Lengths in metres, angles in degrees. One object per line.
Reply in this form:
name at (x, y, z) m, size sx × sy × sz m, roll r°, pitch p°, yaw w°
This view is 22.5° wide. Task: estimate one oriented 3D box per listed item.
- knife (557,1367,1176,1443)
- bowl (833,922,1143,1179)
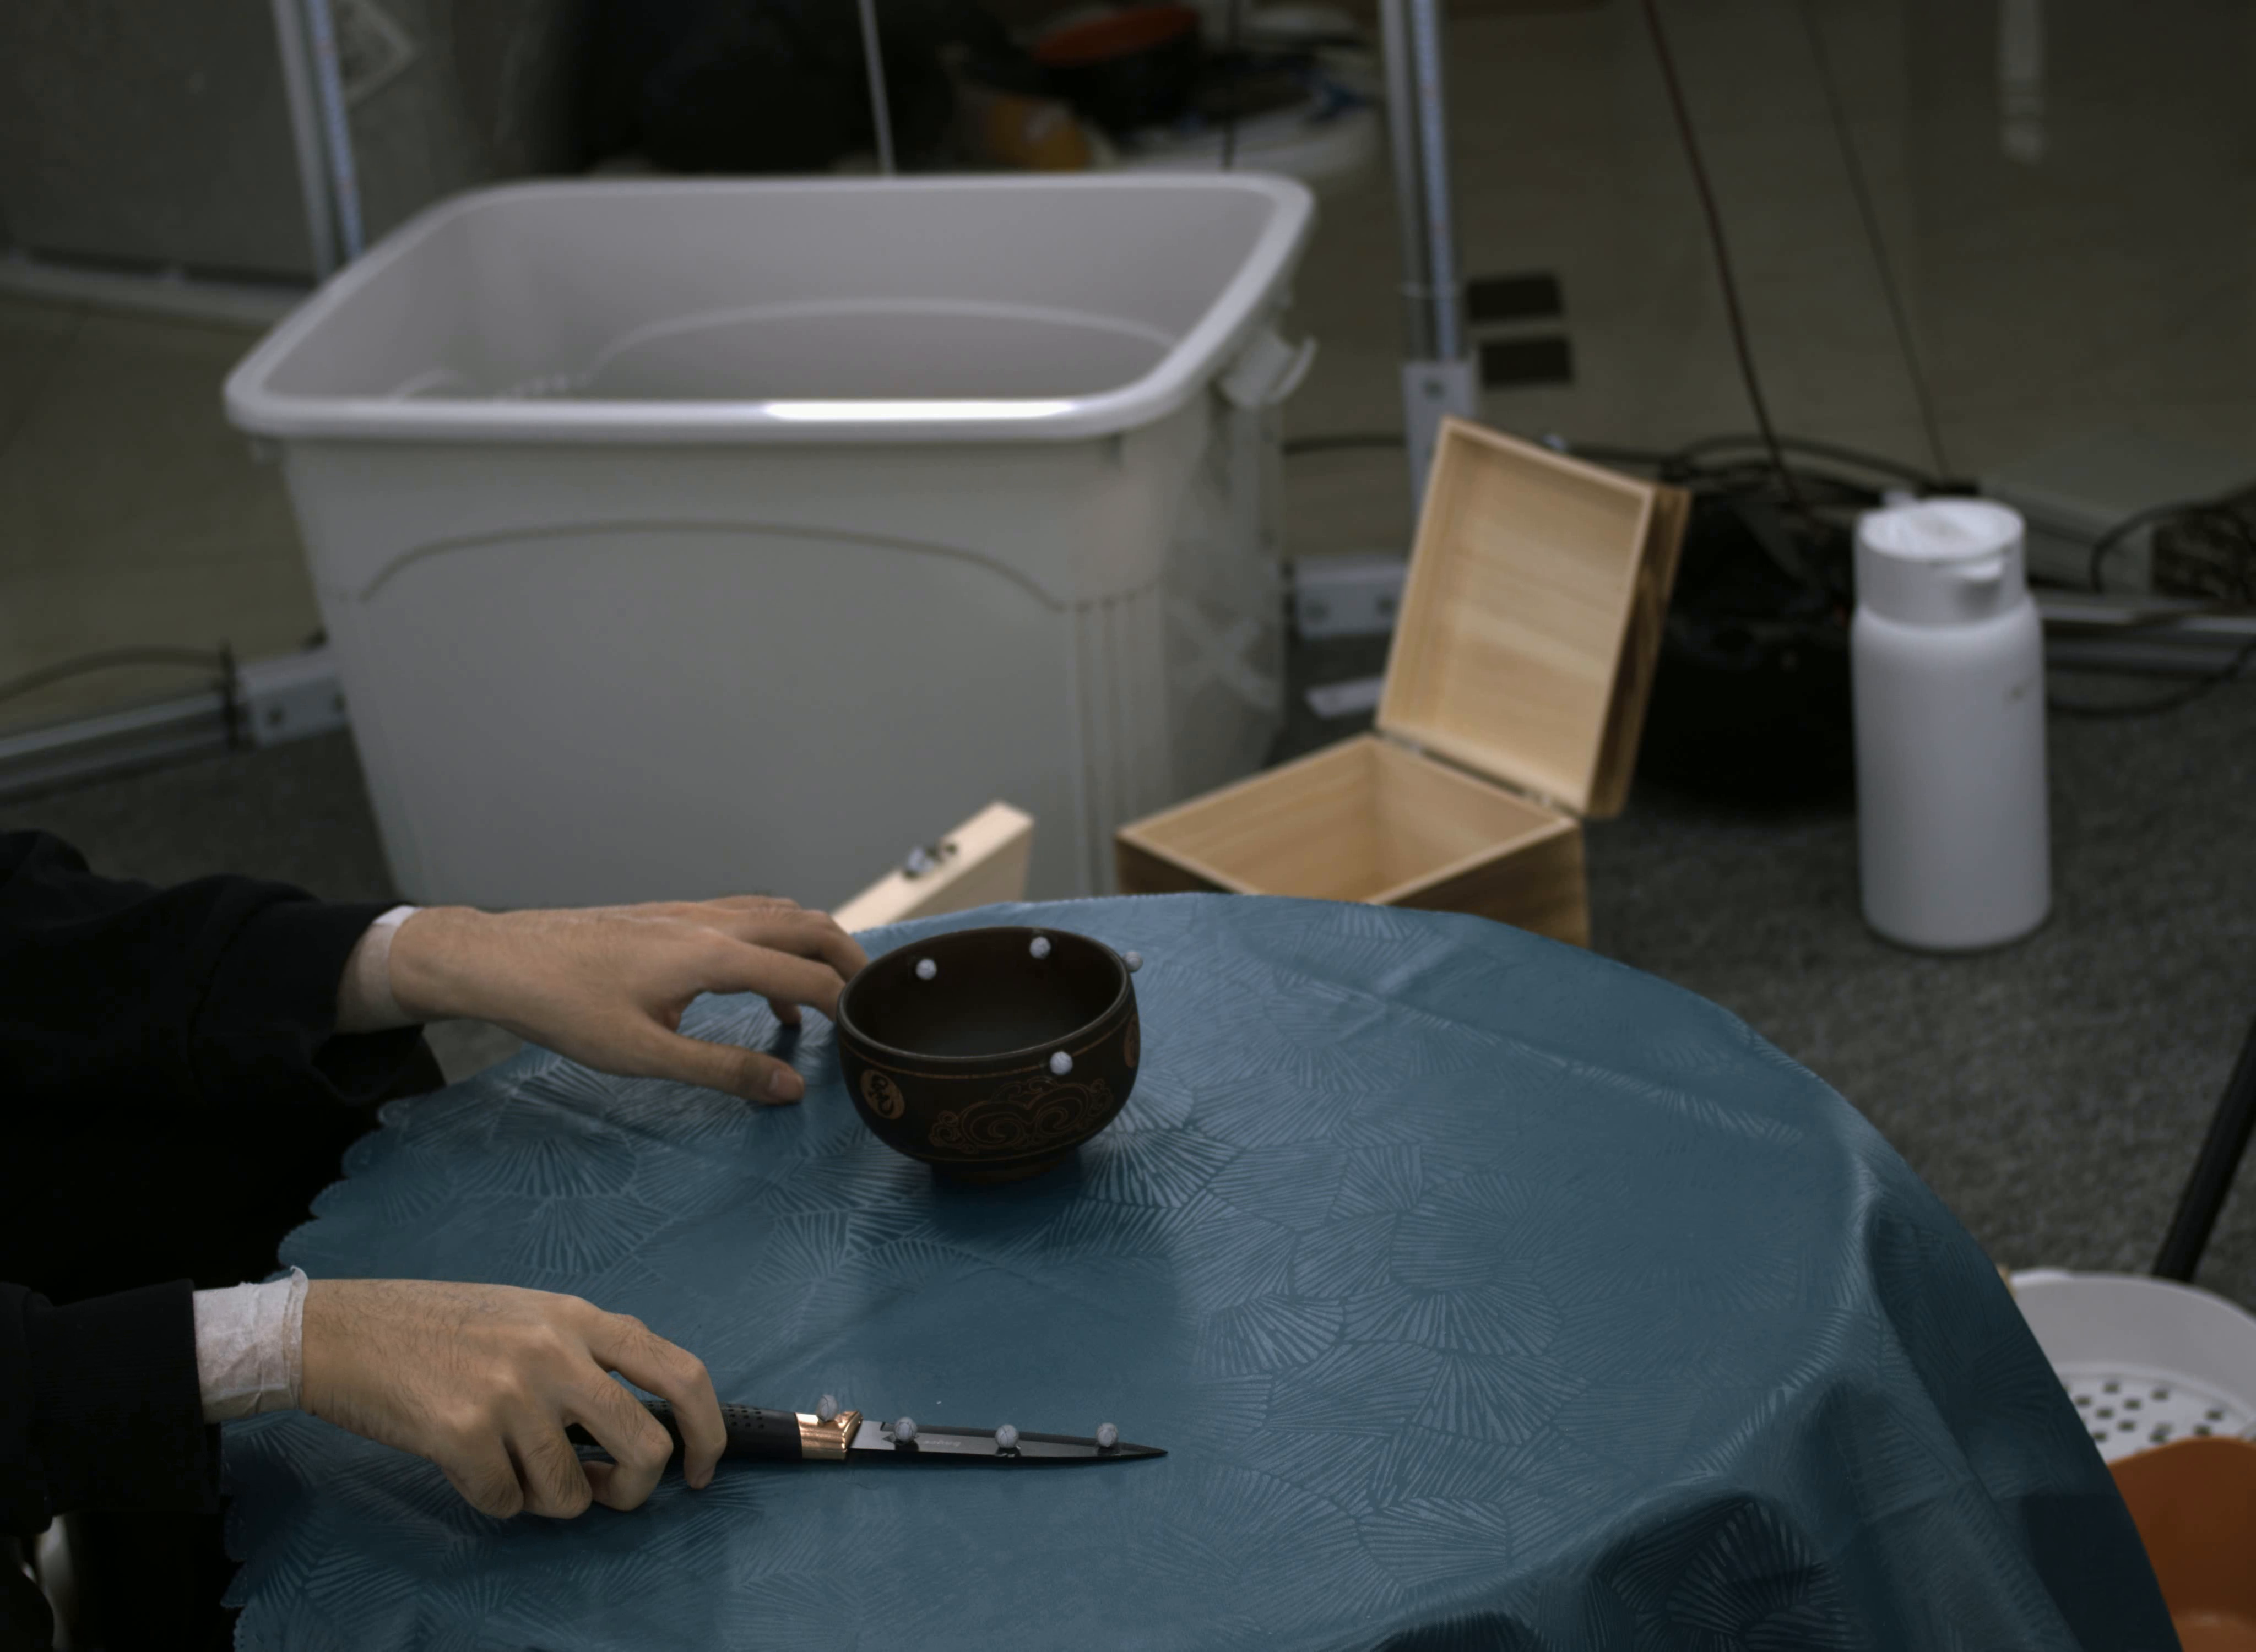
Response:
knife at (-0.093, 0.204, 1.997) m, size 0.225 × 0.026 × 0.017 m, roll 1°, pitch 3°, yaw 13°
bowl at (-0.051, 0.092, 2.171) m, size 0.118 × 0.071 × 0.116 m, roll -7°, pitch 24°, yaw 3°
